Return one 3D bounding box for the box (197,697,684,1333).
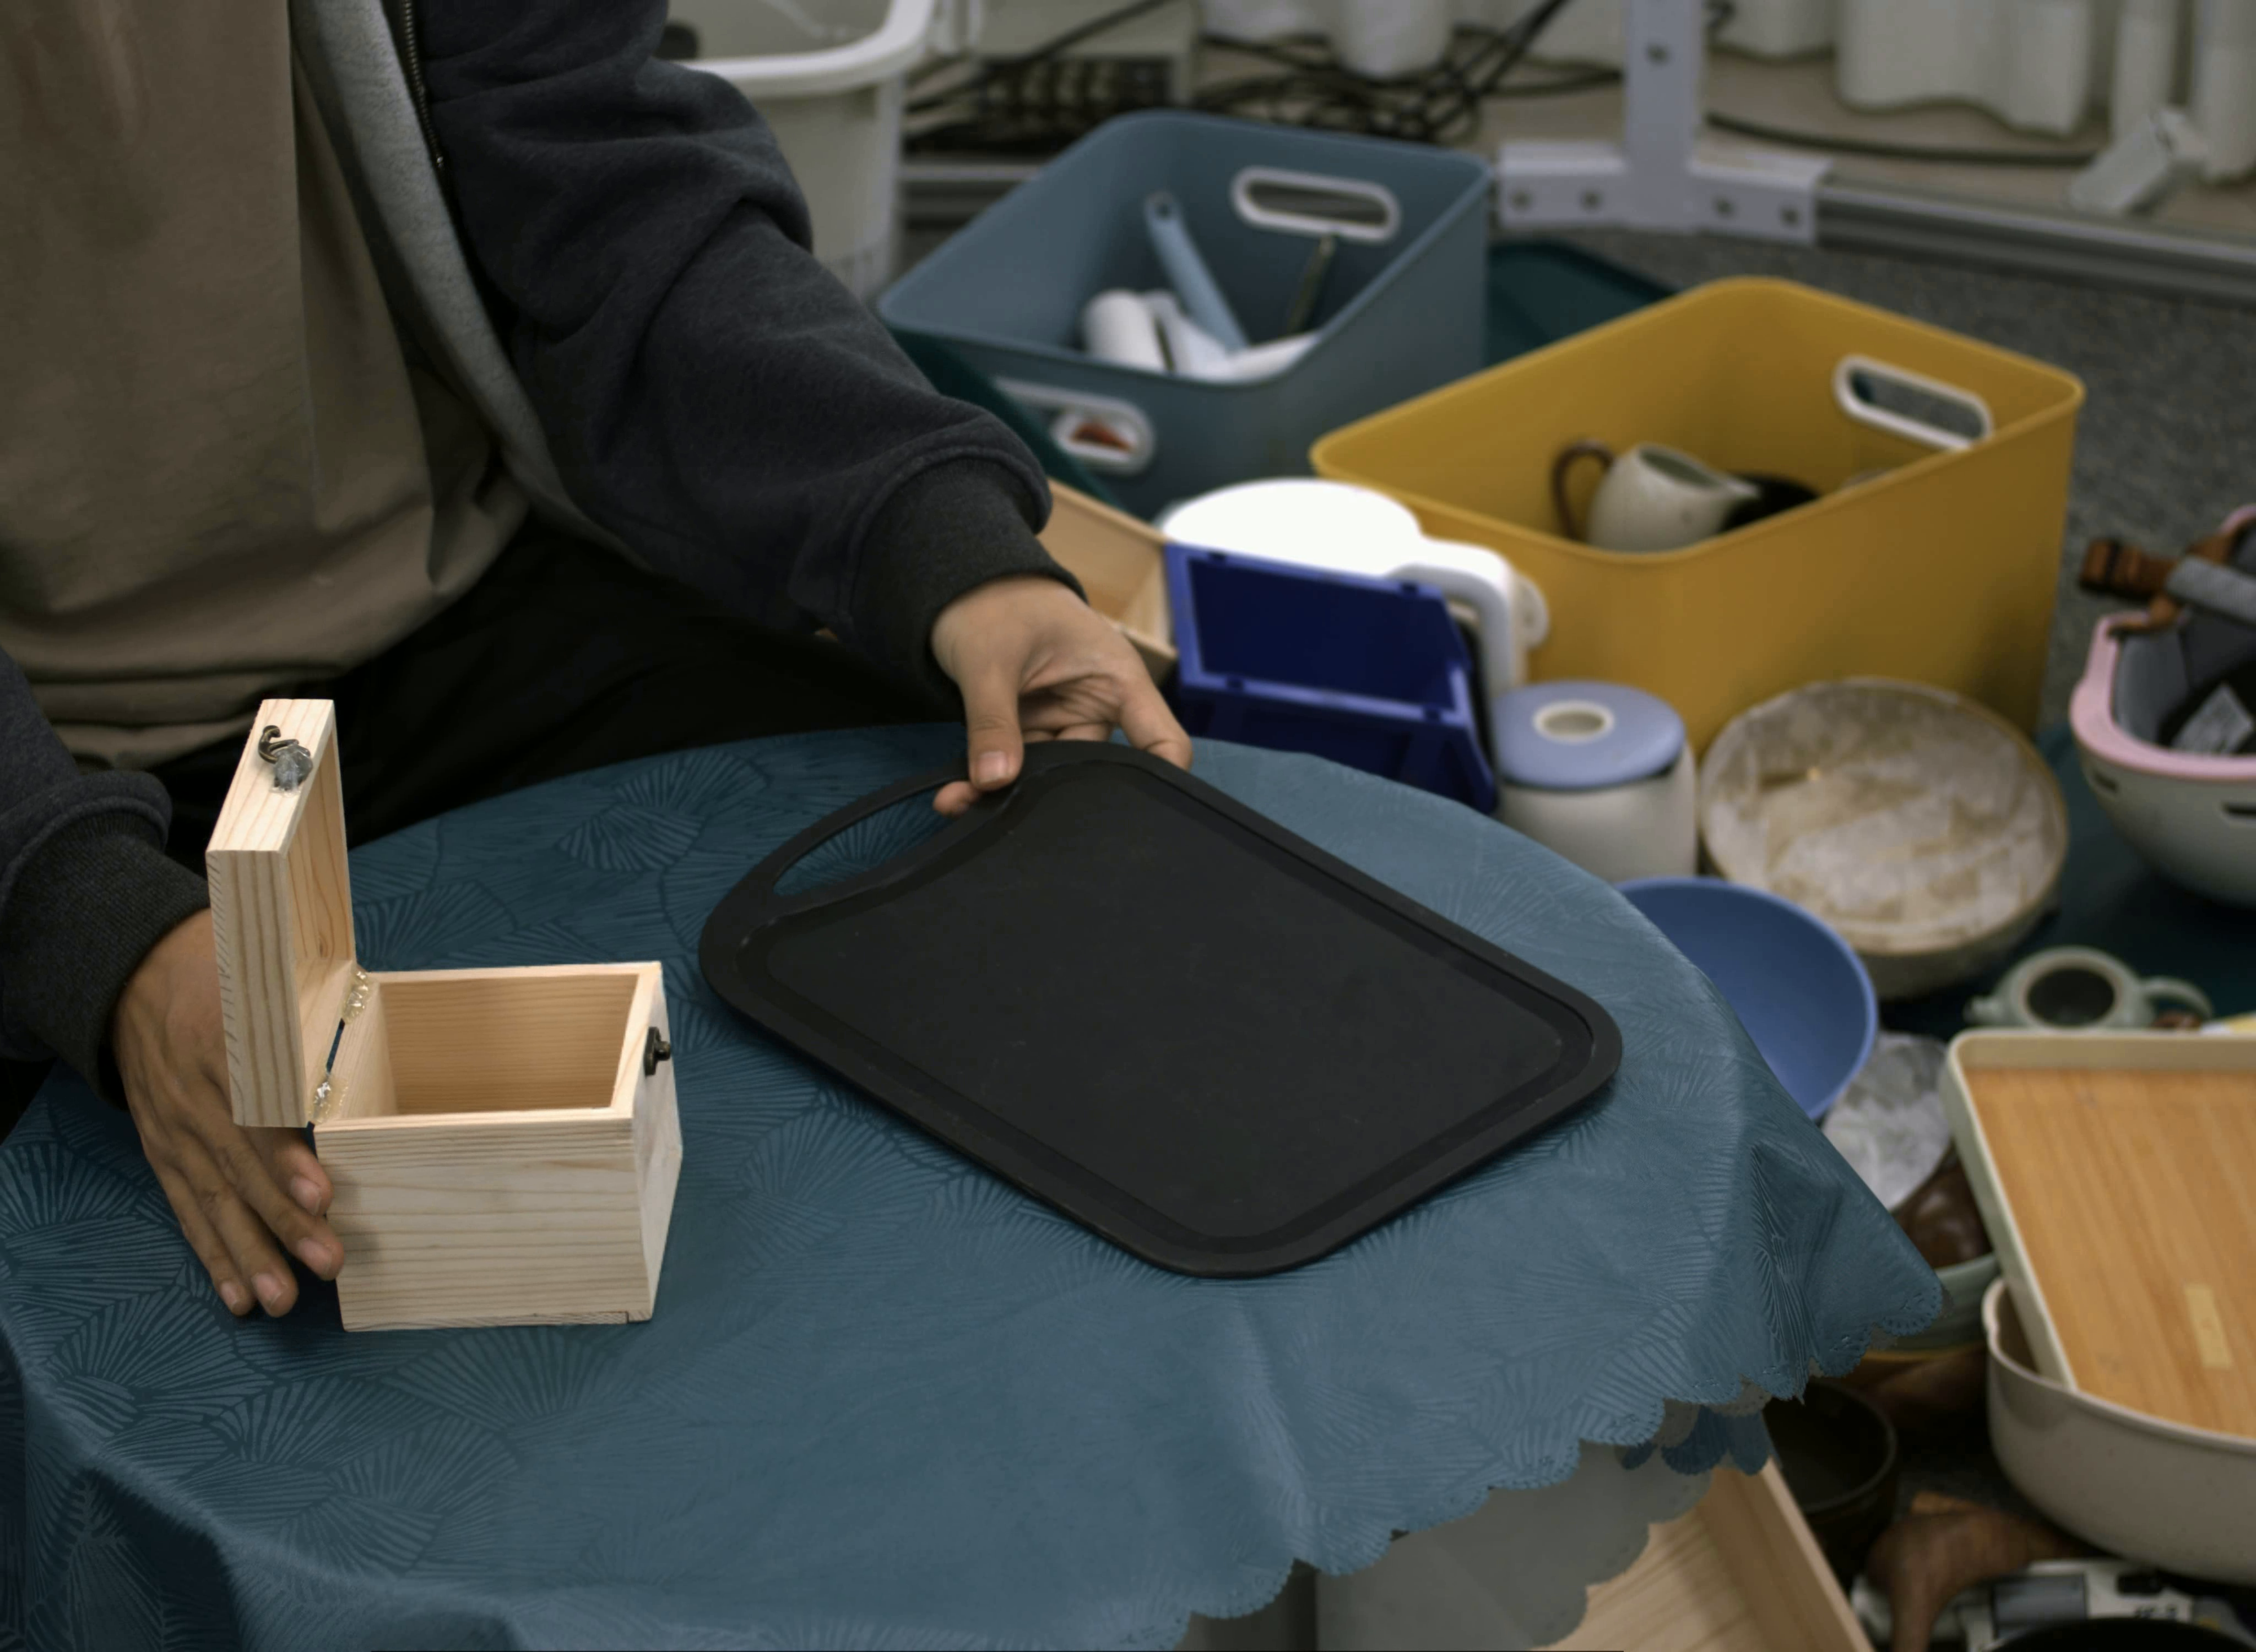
[{"bbox_3d":[-0.216,0.058,1.809,0.133,0.182,0.104,-4,27,3],"label":"box"}]

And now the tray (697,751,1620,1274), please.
[{"bbox_3d":[0.001,0.055,1.958,0.213,0.009,0.326,-26,39,-33],"label":"tray"}]
